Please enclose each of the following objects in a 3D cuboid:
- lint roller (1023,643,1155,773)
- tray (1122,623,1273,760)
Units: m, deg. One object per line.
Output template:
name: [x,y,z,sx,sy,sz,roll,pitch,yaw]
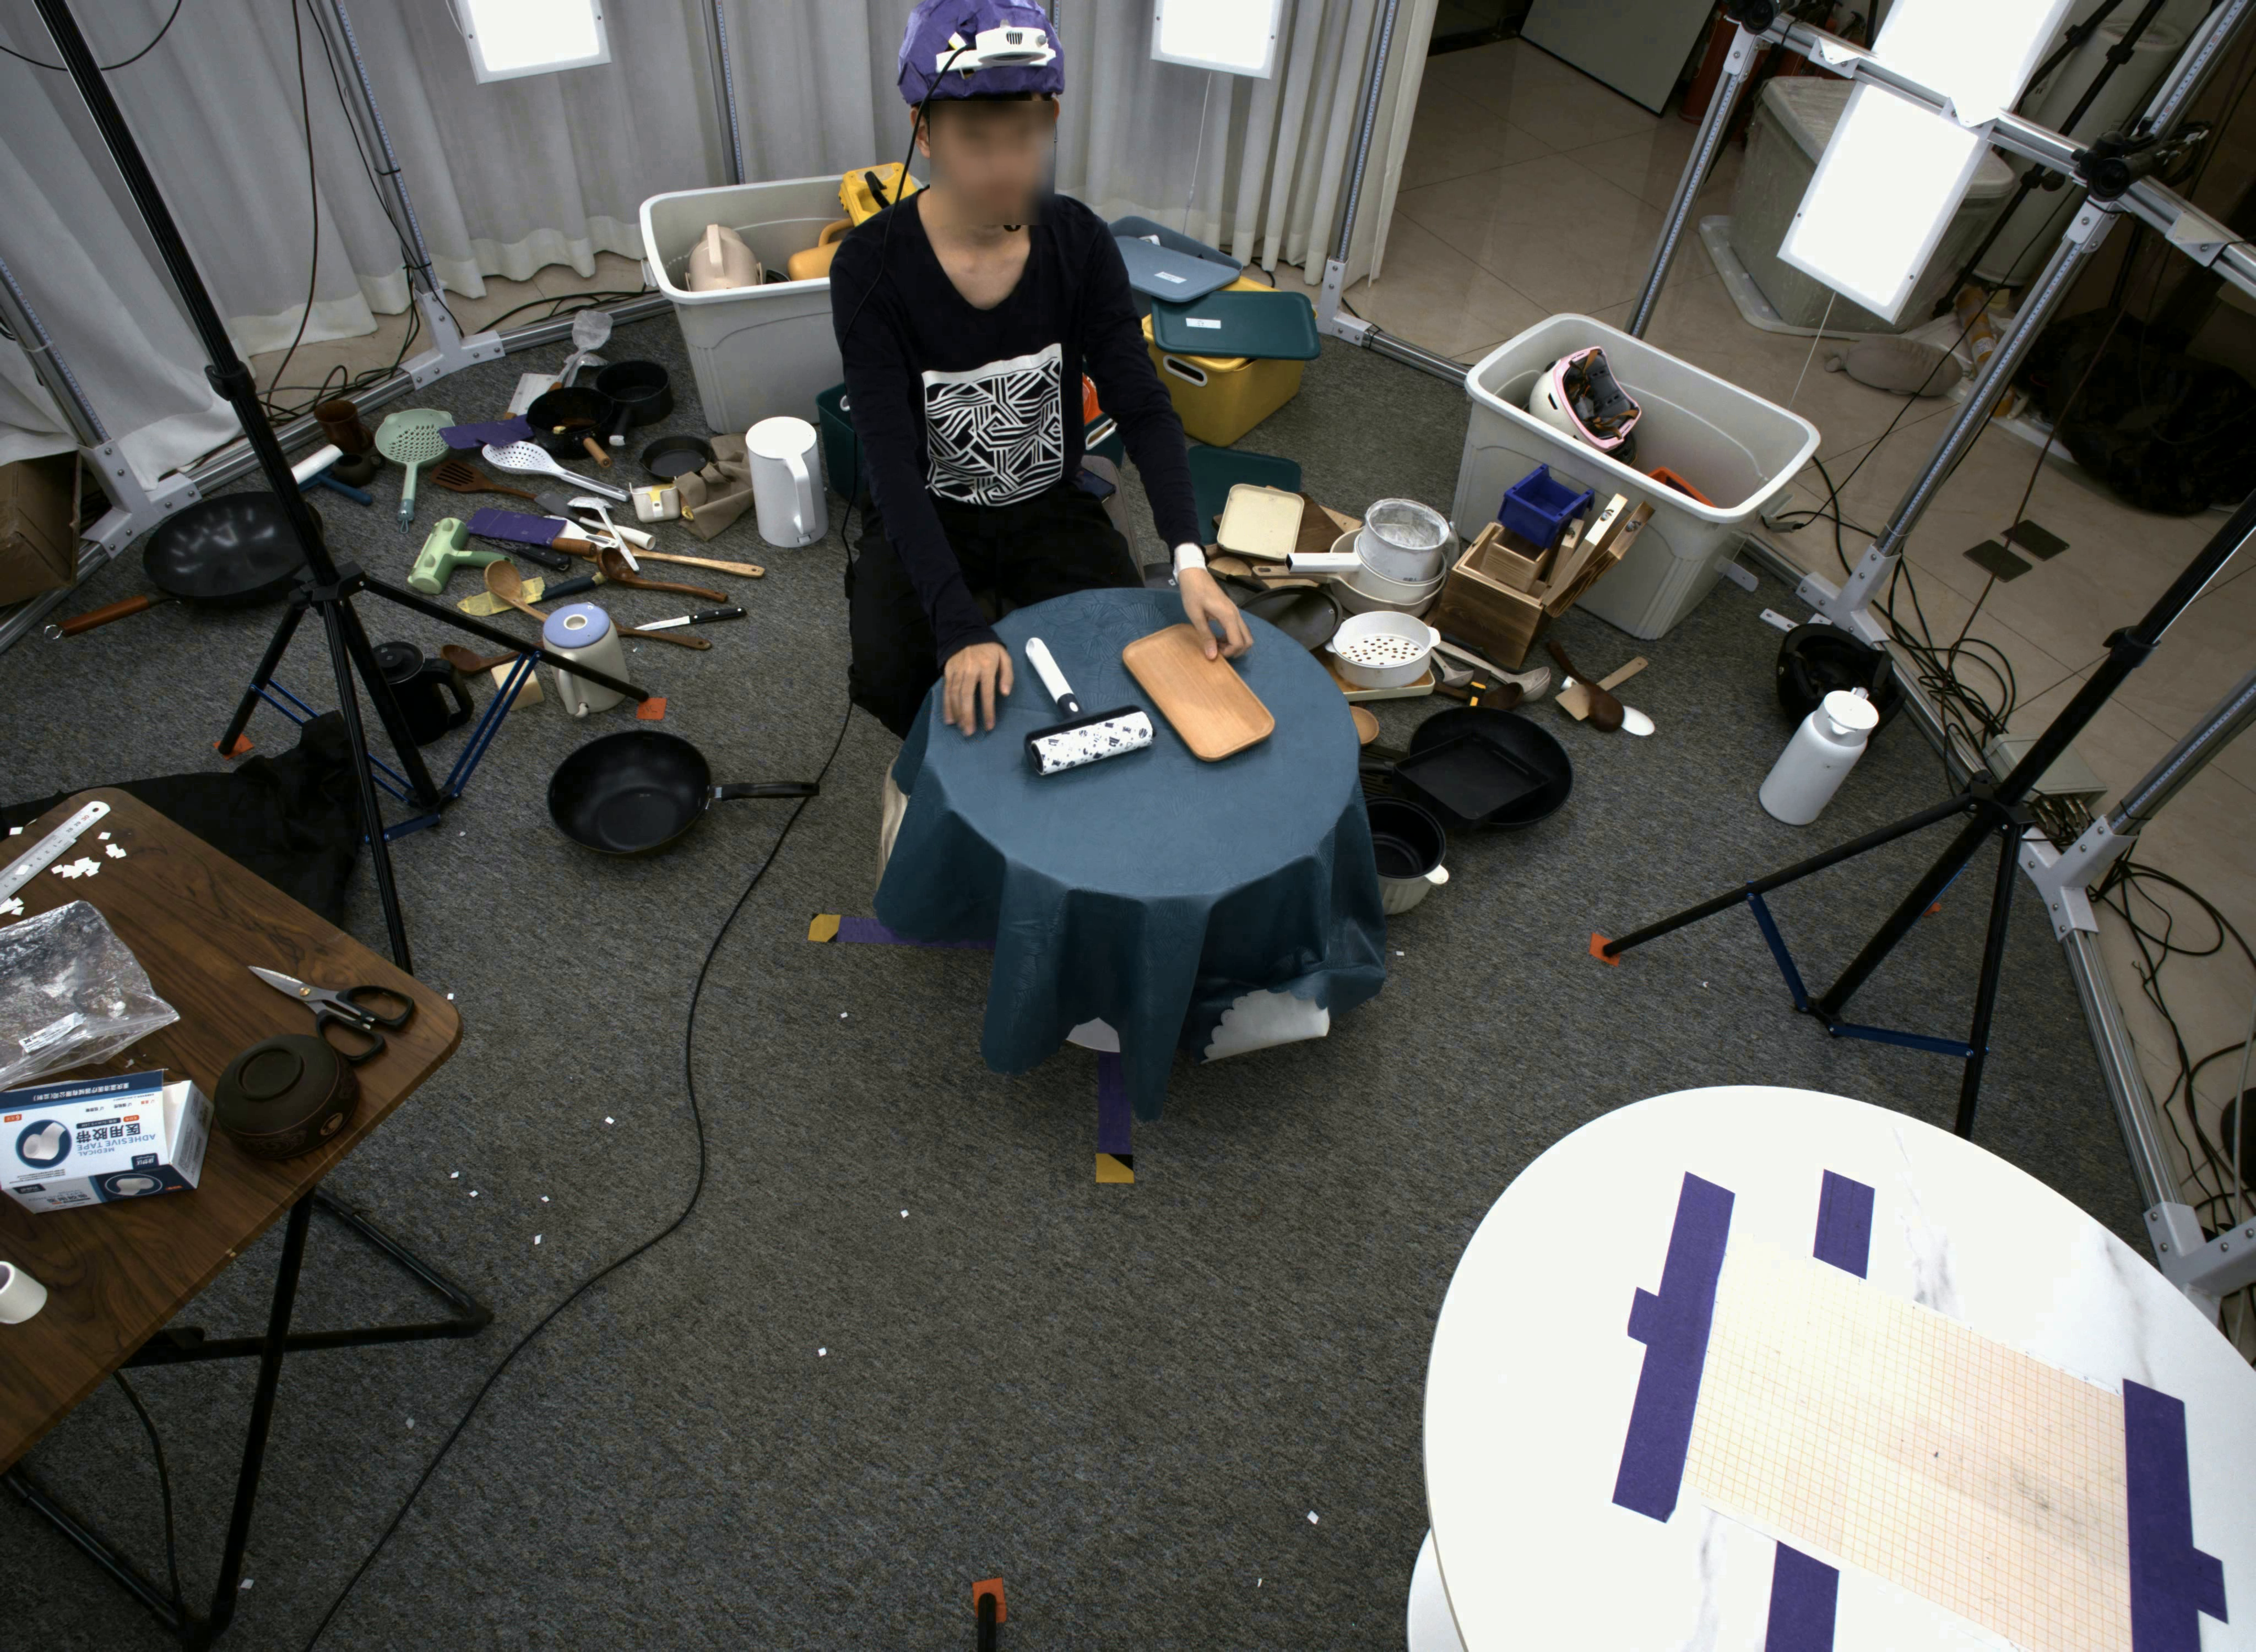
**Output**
lint roller: [-0.092,-0.183,1.794,0.176,0.049,0.253,-18,50,-17]
tray: [0.096,-0.194,1.825,0.131,0.022,0.256,-21,53,-17]
